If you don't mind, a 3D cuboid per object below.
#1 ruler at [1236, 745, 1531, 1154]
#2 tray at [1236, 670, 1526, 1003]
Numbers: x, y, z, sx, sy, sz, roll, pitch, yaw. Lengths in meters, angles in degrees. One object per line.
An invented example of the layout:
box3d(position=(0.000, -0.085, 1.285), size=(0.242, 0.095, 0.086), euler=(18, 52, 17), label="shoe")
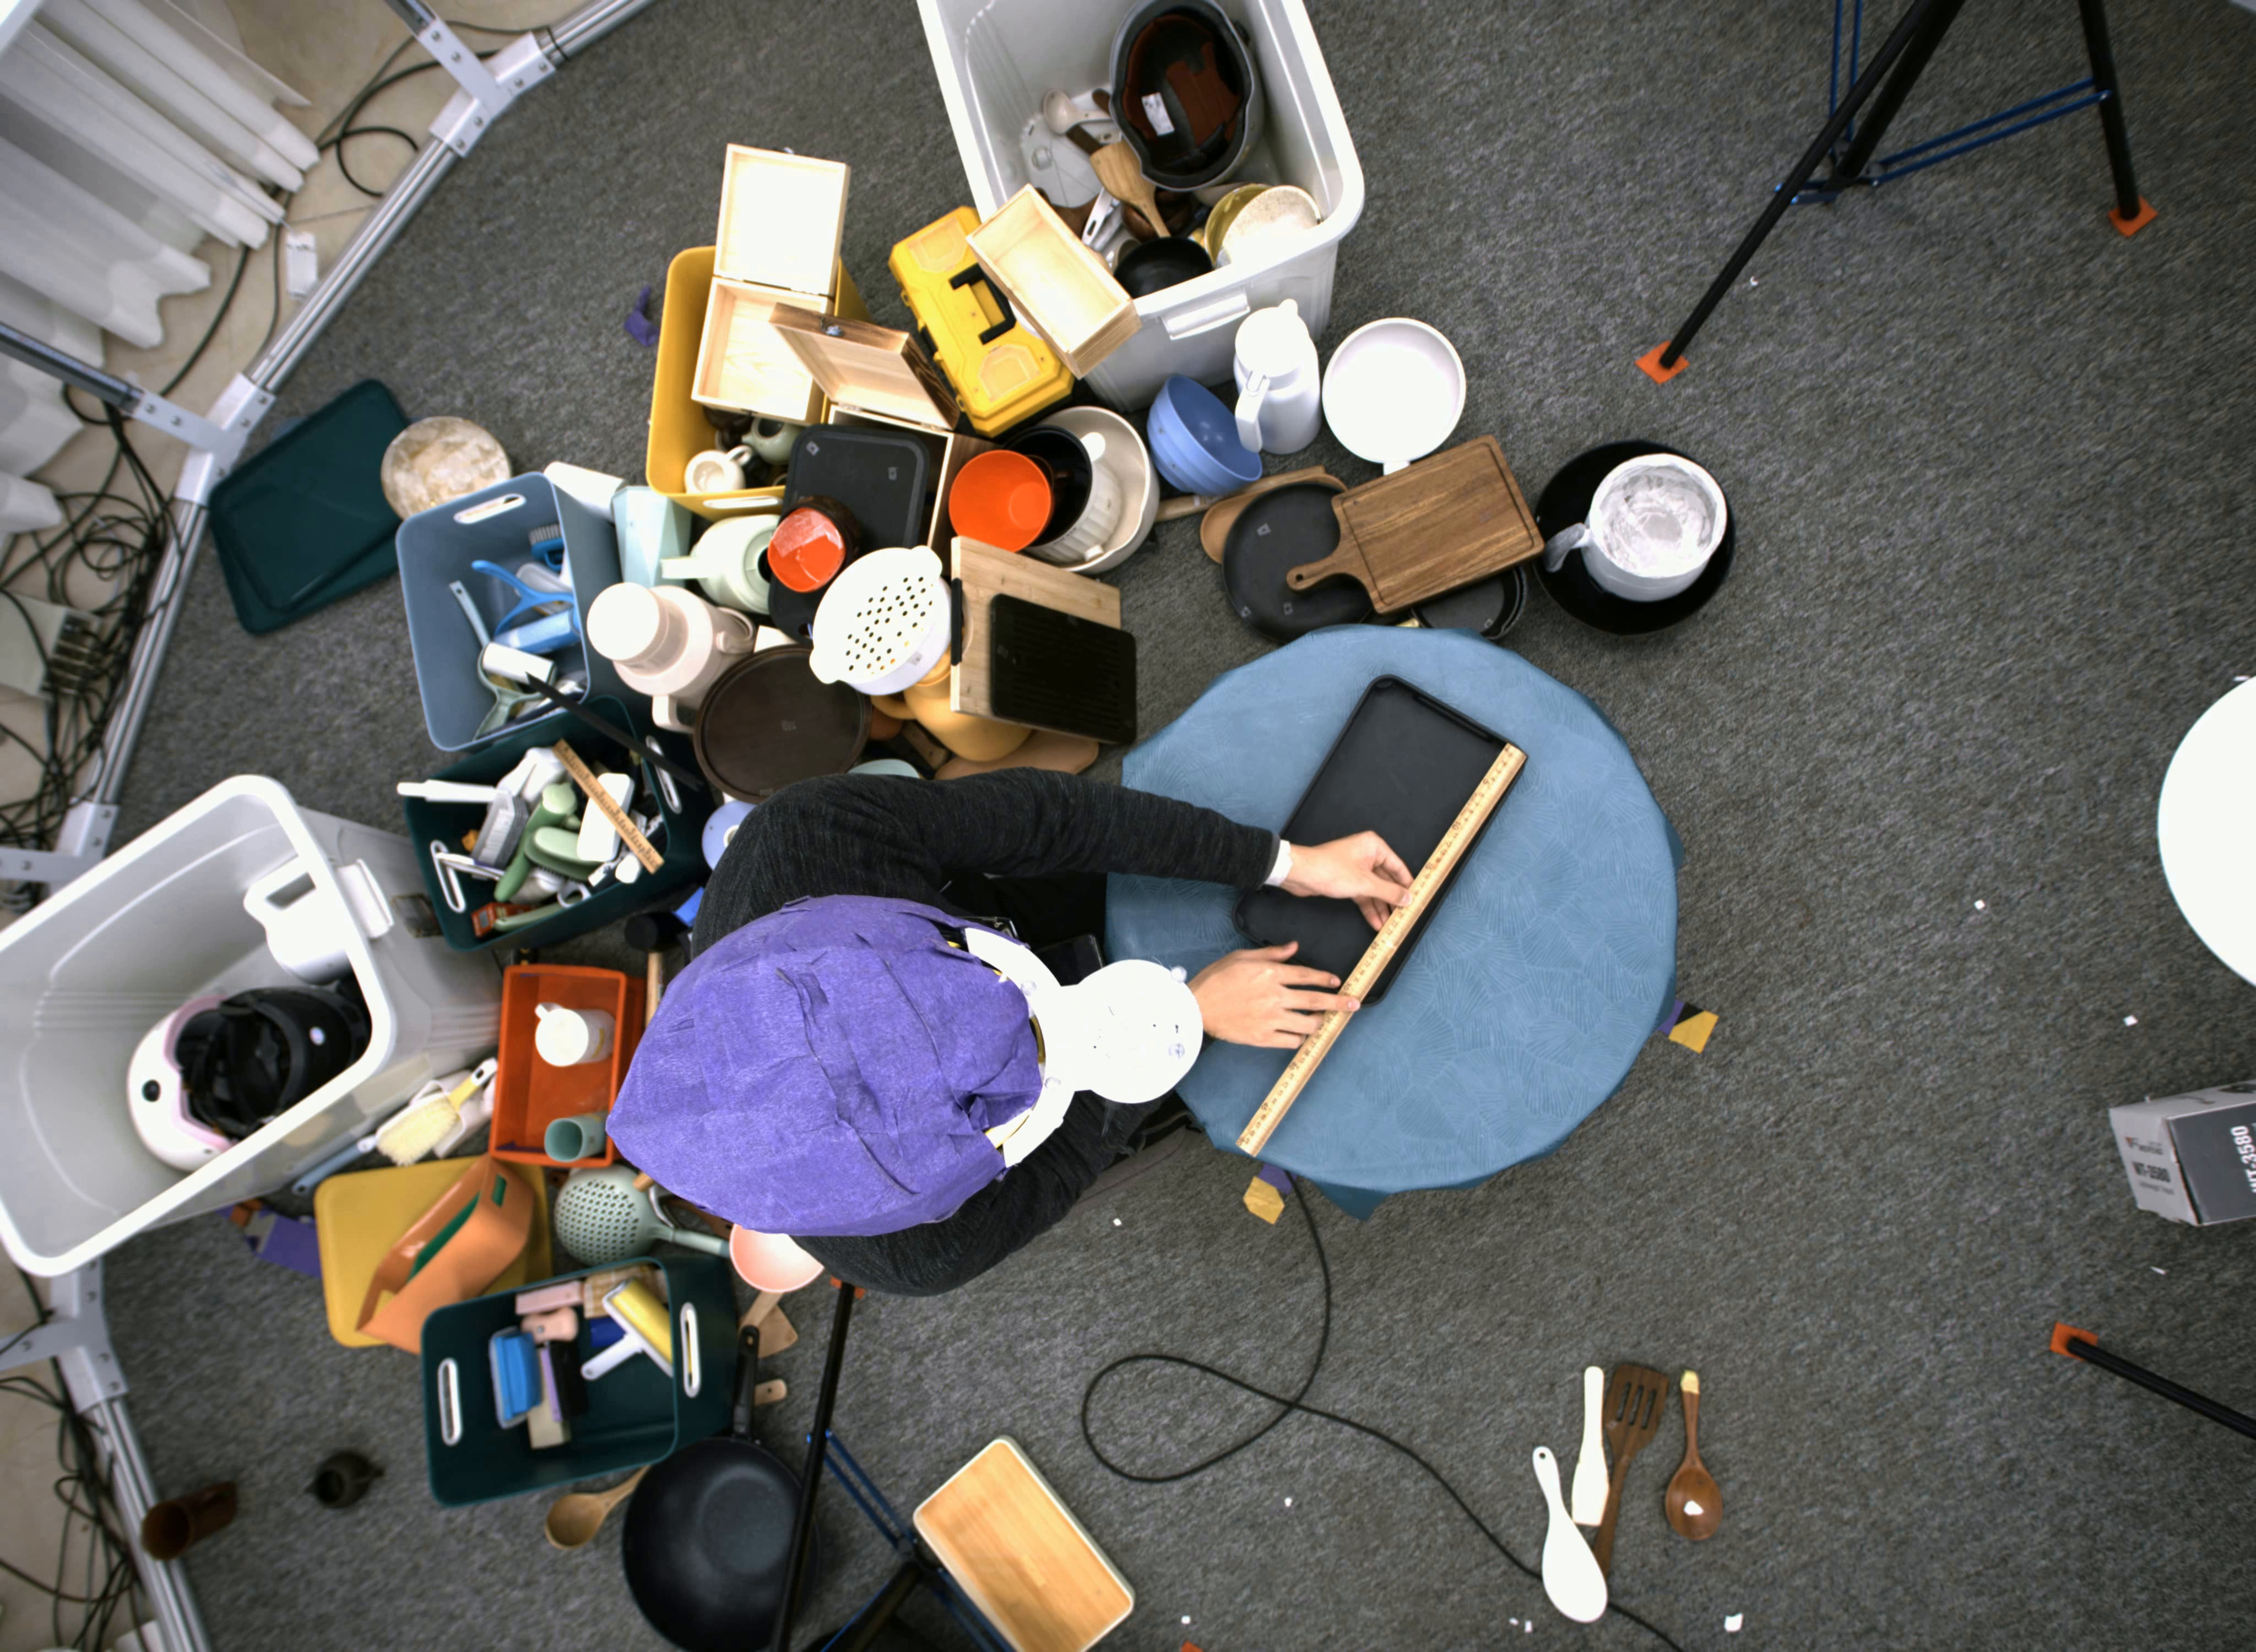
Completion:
box3d(position=(0.262, 0.126, 1.422), size=(0.027, 0.006, 0.502), euler=(35, 94, 12), label="ruler")
box3d(position=(0.264, 0.010, 1.447), size=(0.184, 0.037, 0.318), euler=(30, 93, 11), label="tray")
